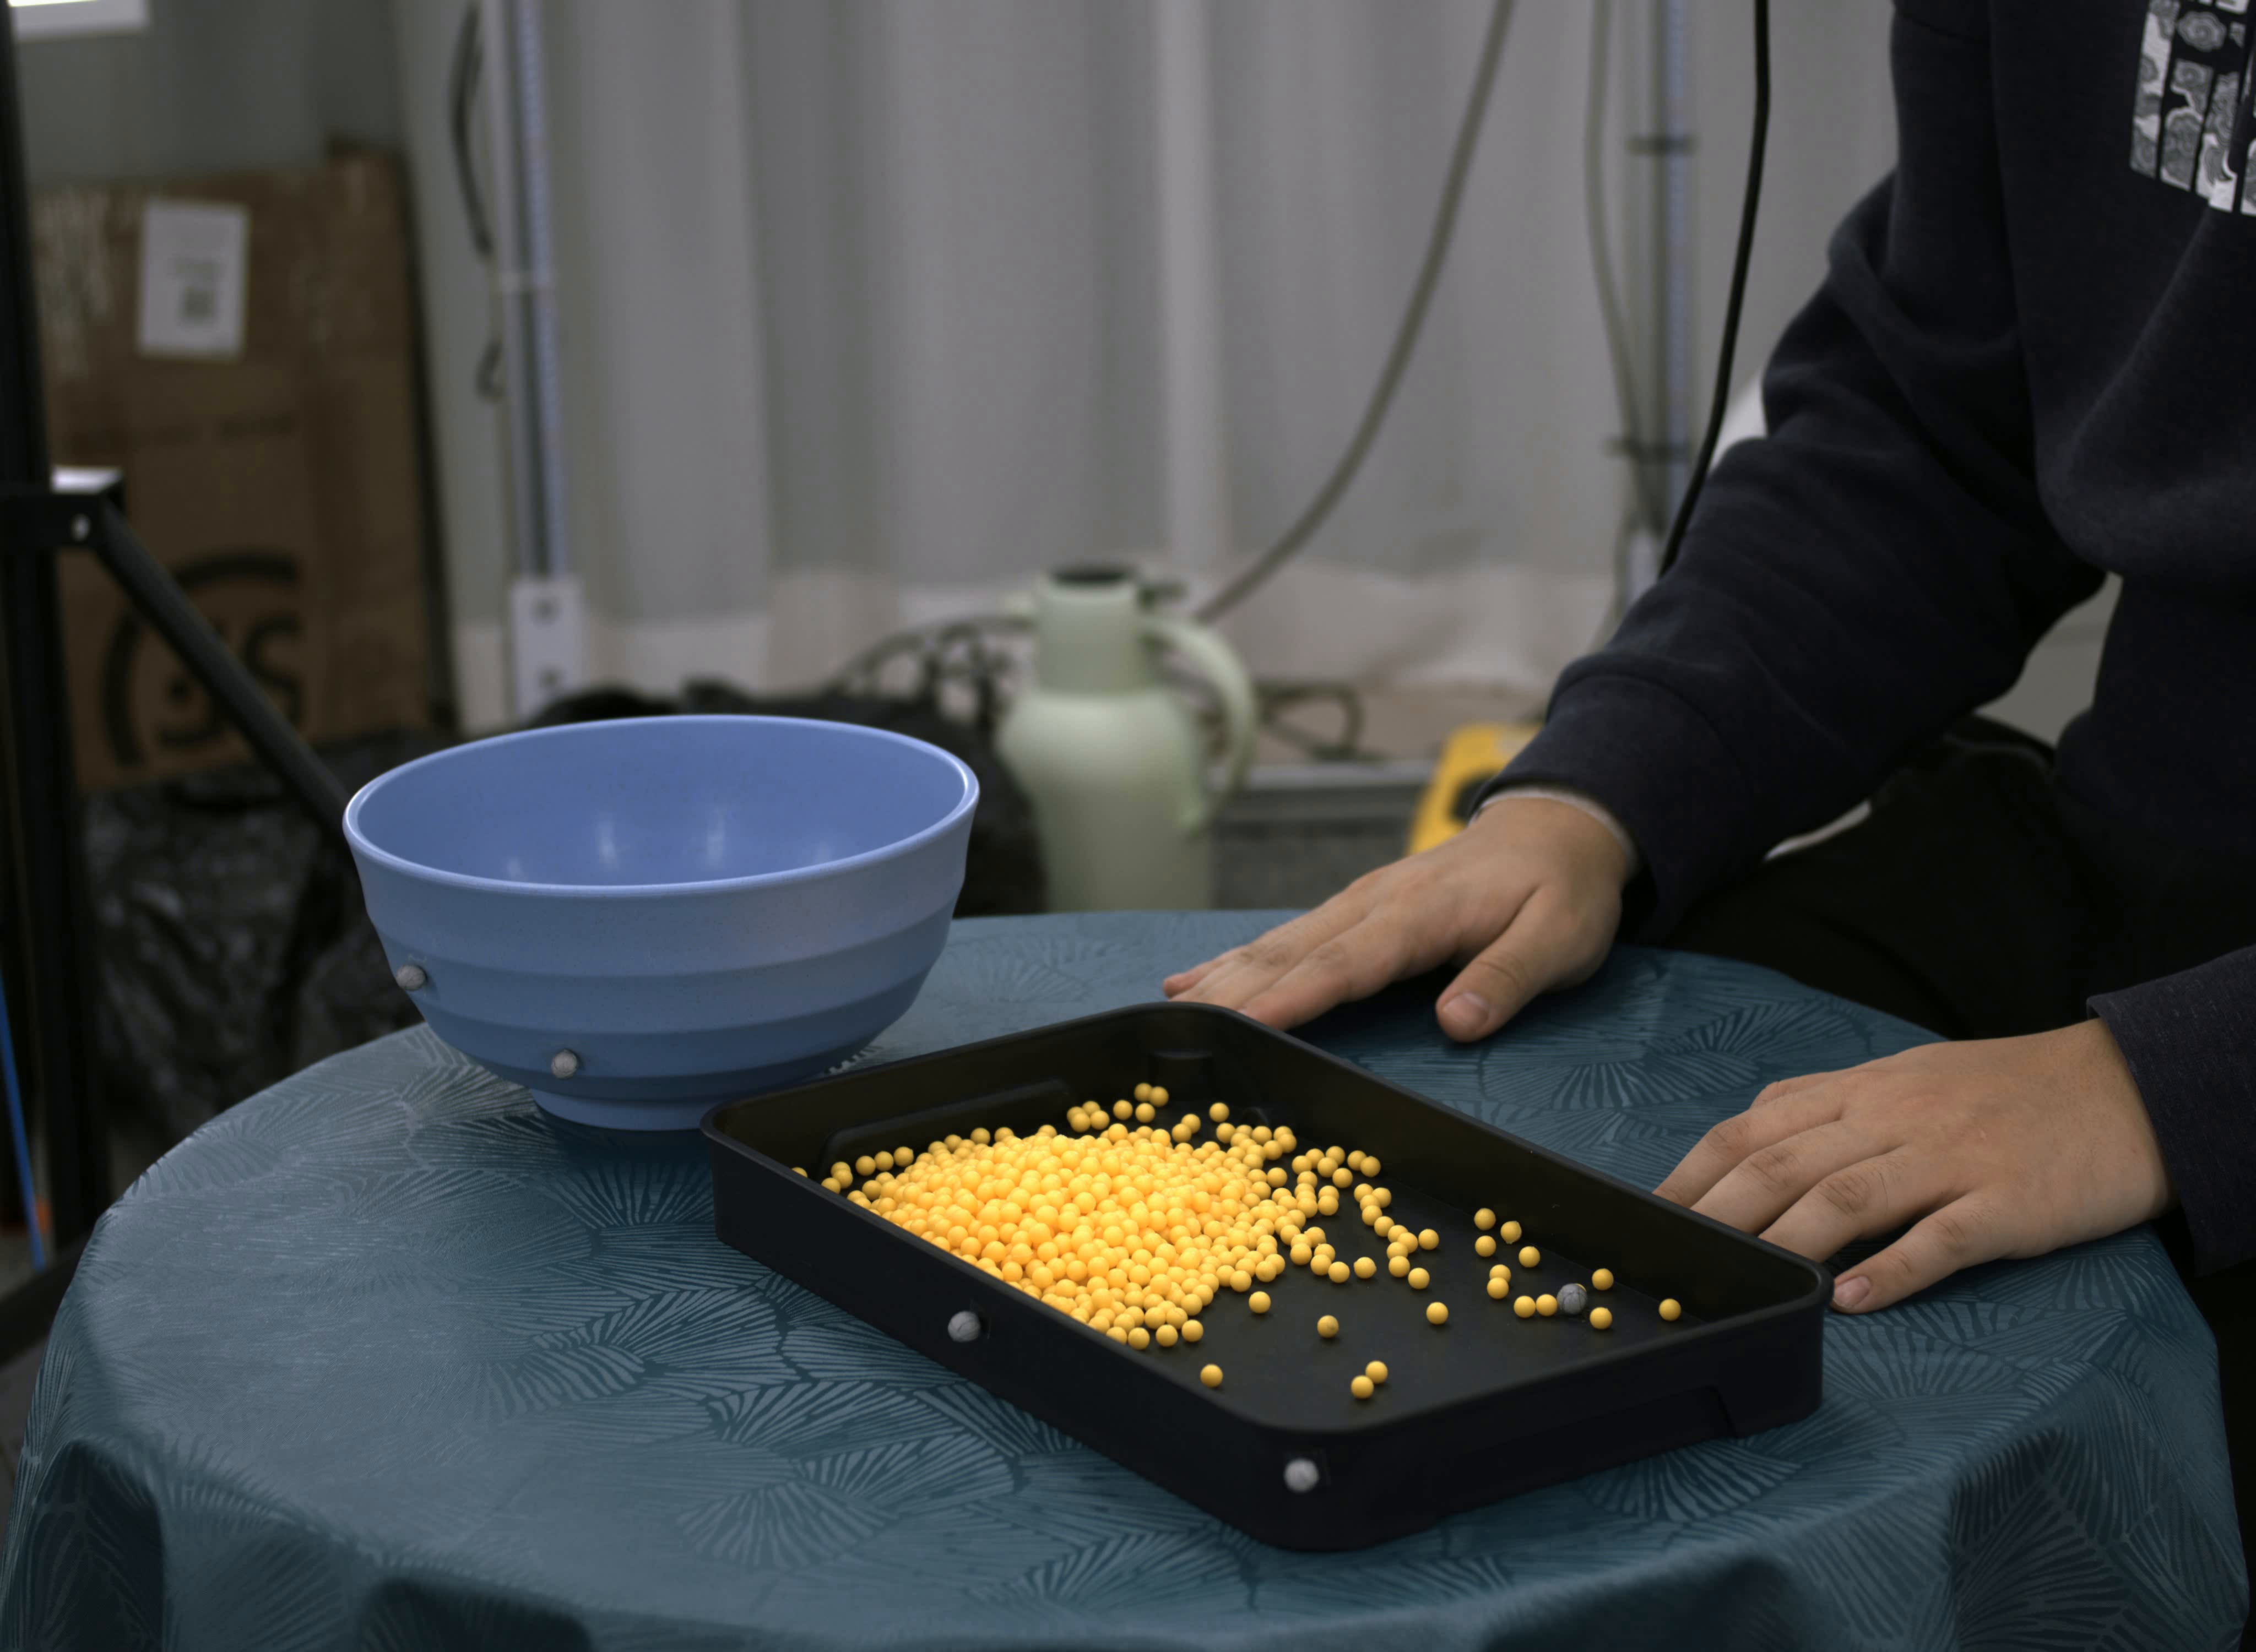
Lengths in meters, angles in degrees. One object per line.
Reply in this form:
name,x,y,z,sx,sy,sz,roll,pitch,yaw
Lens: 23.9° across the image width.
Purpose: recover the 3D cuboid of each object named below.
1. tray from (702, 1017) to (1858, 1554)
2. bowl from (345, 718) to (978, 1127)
tray,0.034,0.119,1.453,0.180,0.037,0.325,-12,17,-32
bowl,-0.141,0.035,1.659,0.195,0.095,0.197,-4,15,0
